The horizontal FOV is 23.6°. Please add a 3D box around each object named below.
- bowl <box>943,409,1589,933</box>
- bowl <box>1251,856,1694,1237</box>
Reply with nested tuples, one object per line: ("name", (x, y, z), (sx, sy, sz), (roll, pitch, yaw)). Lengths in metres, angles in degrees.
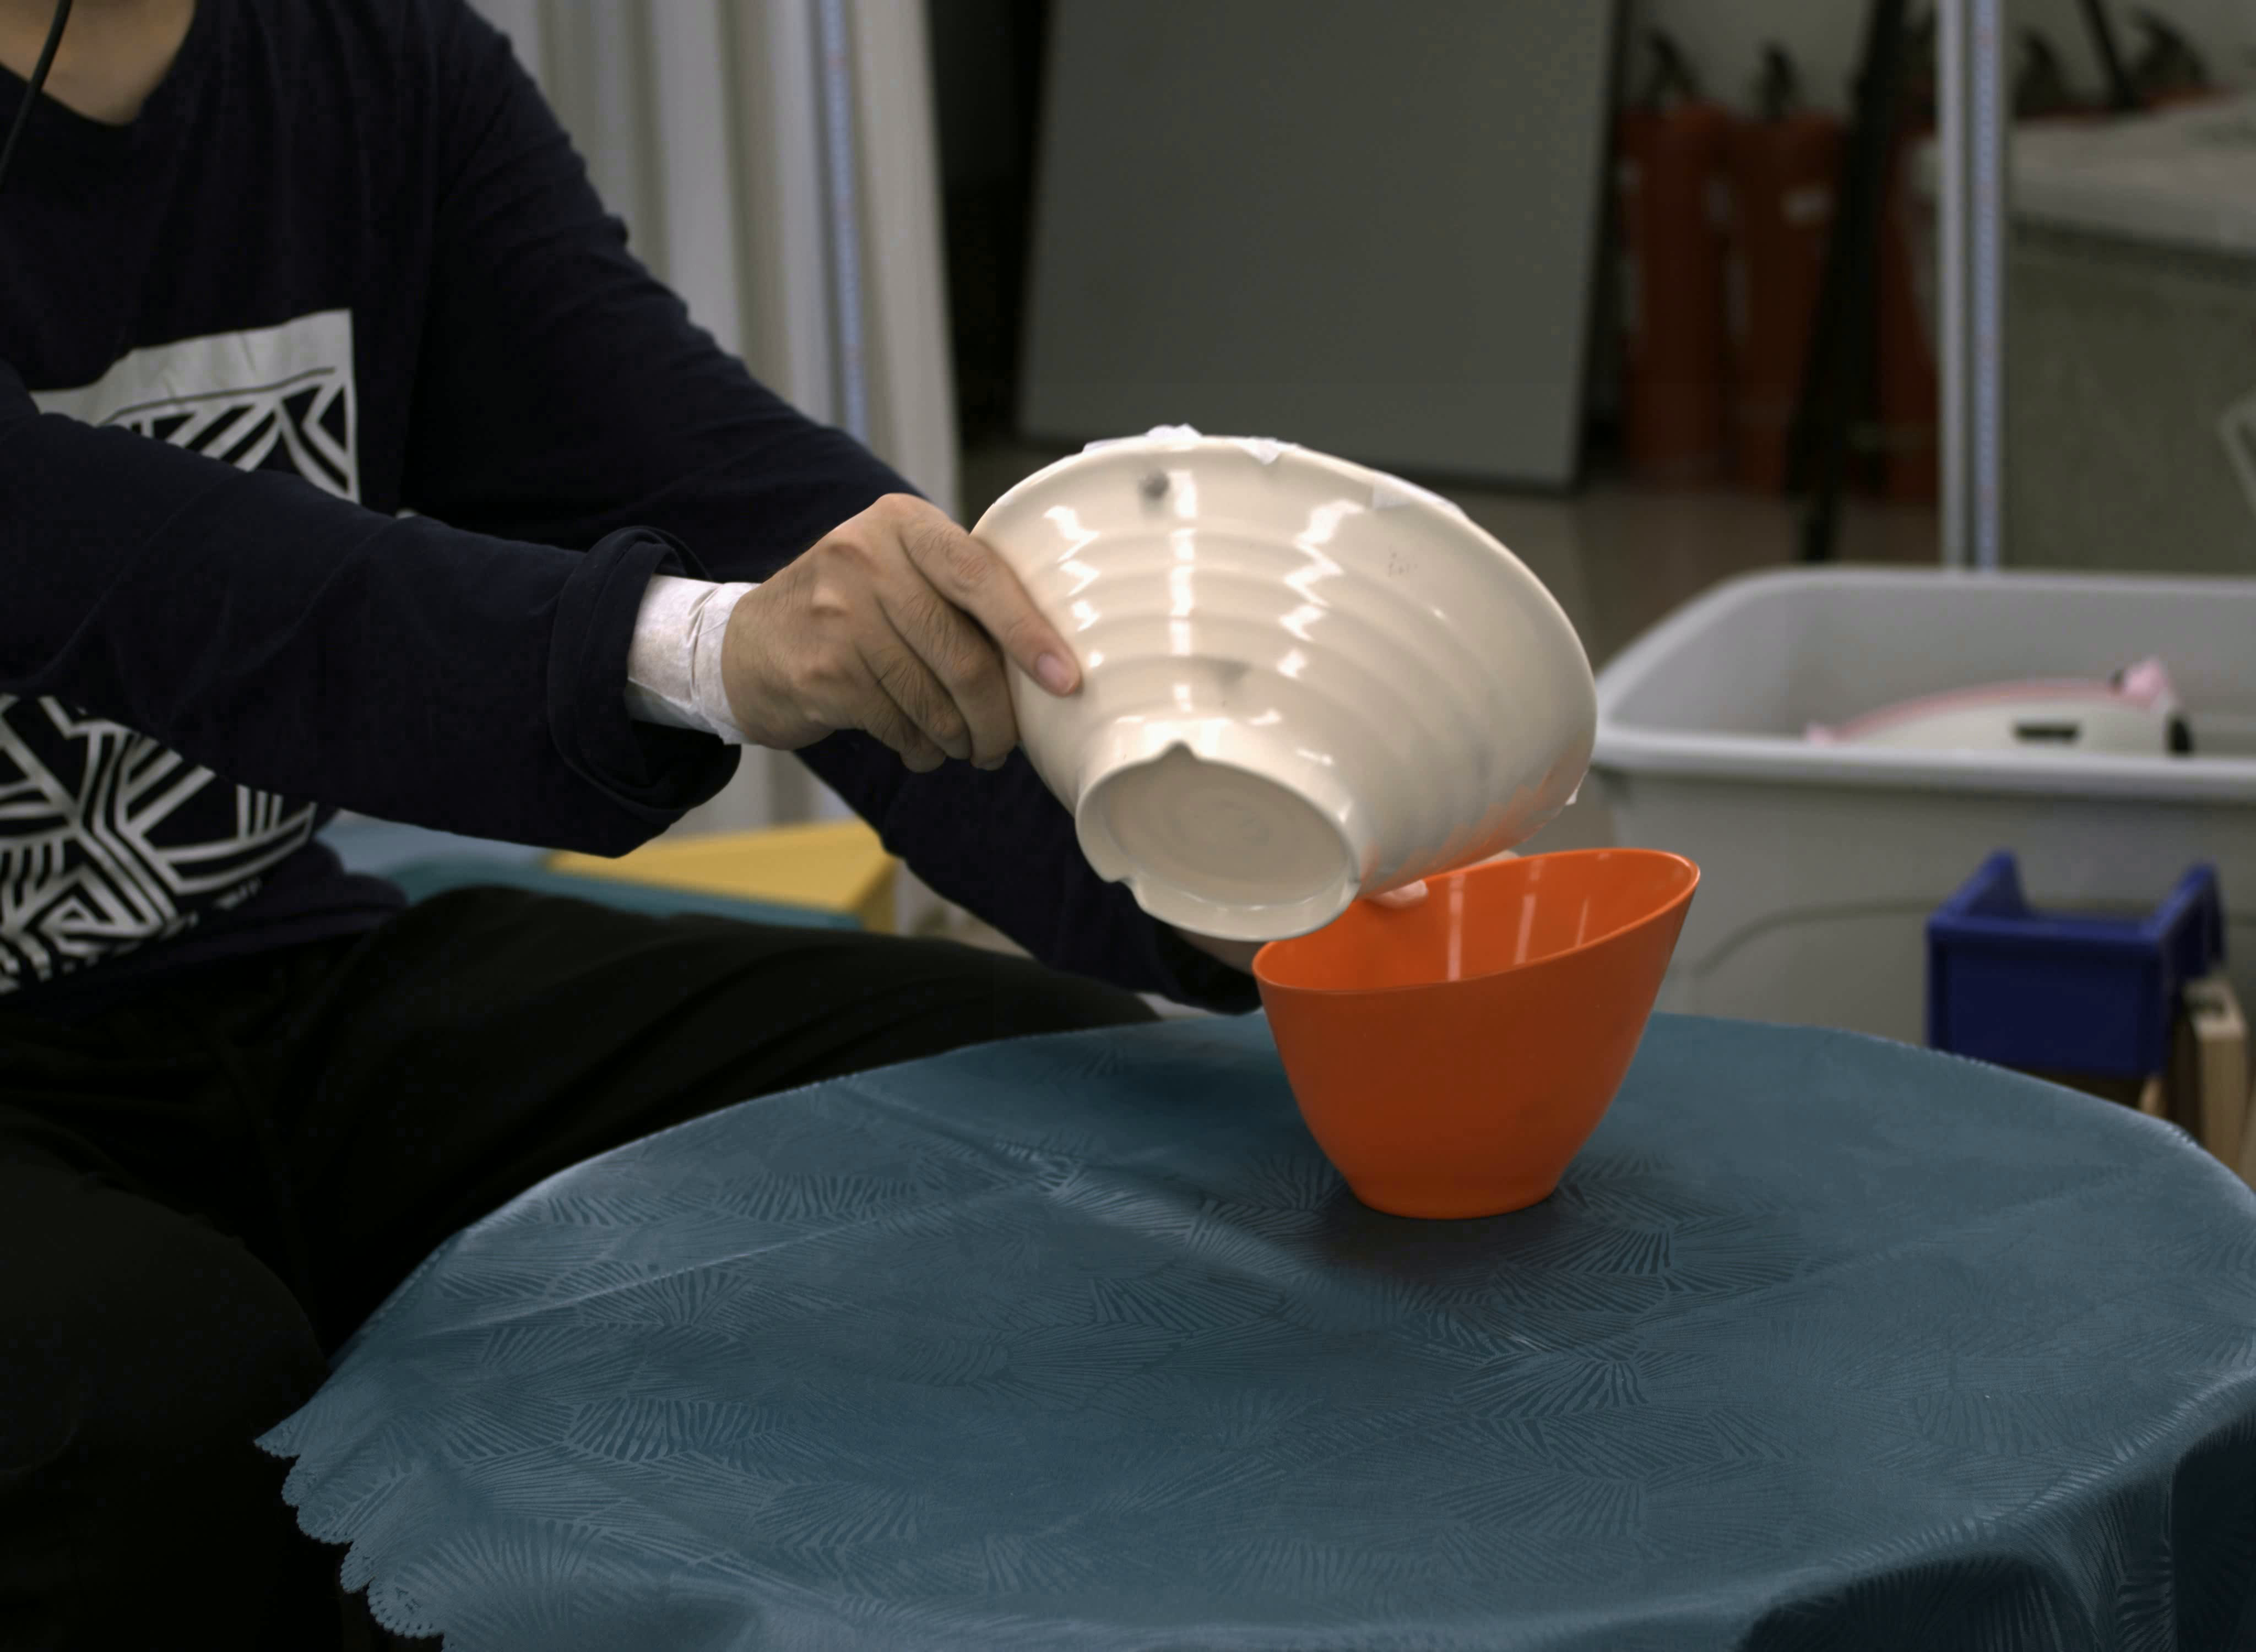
("bowl", (0.033, -0.026, 1.614), (0.204, 0.203, 0.078), (2, 50, 21))
("bowl", (0.115, 0.073, 1.737), (0.146, 0.106, 0.148), (-7, 10, 0))
